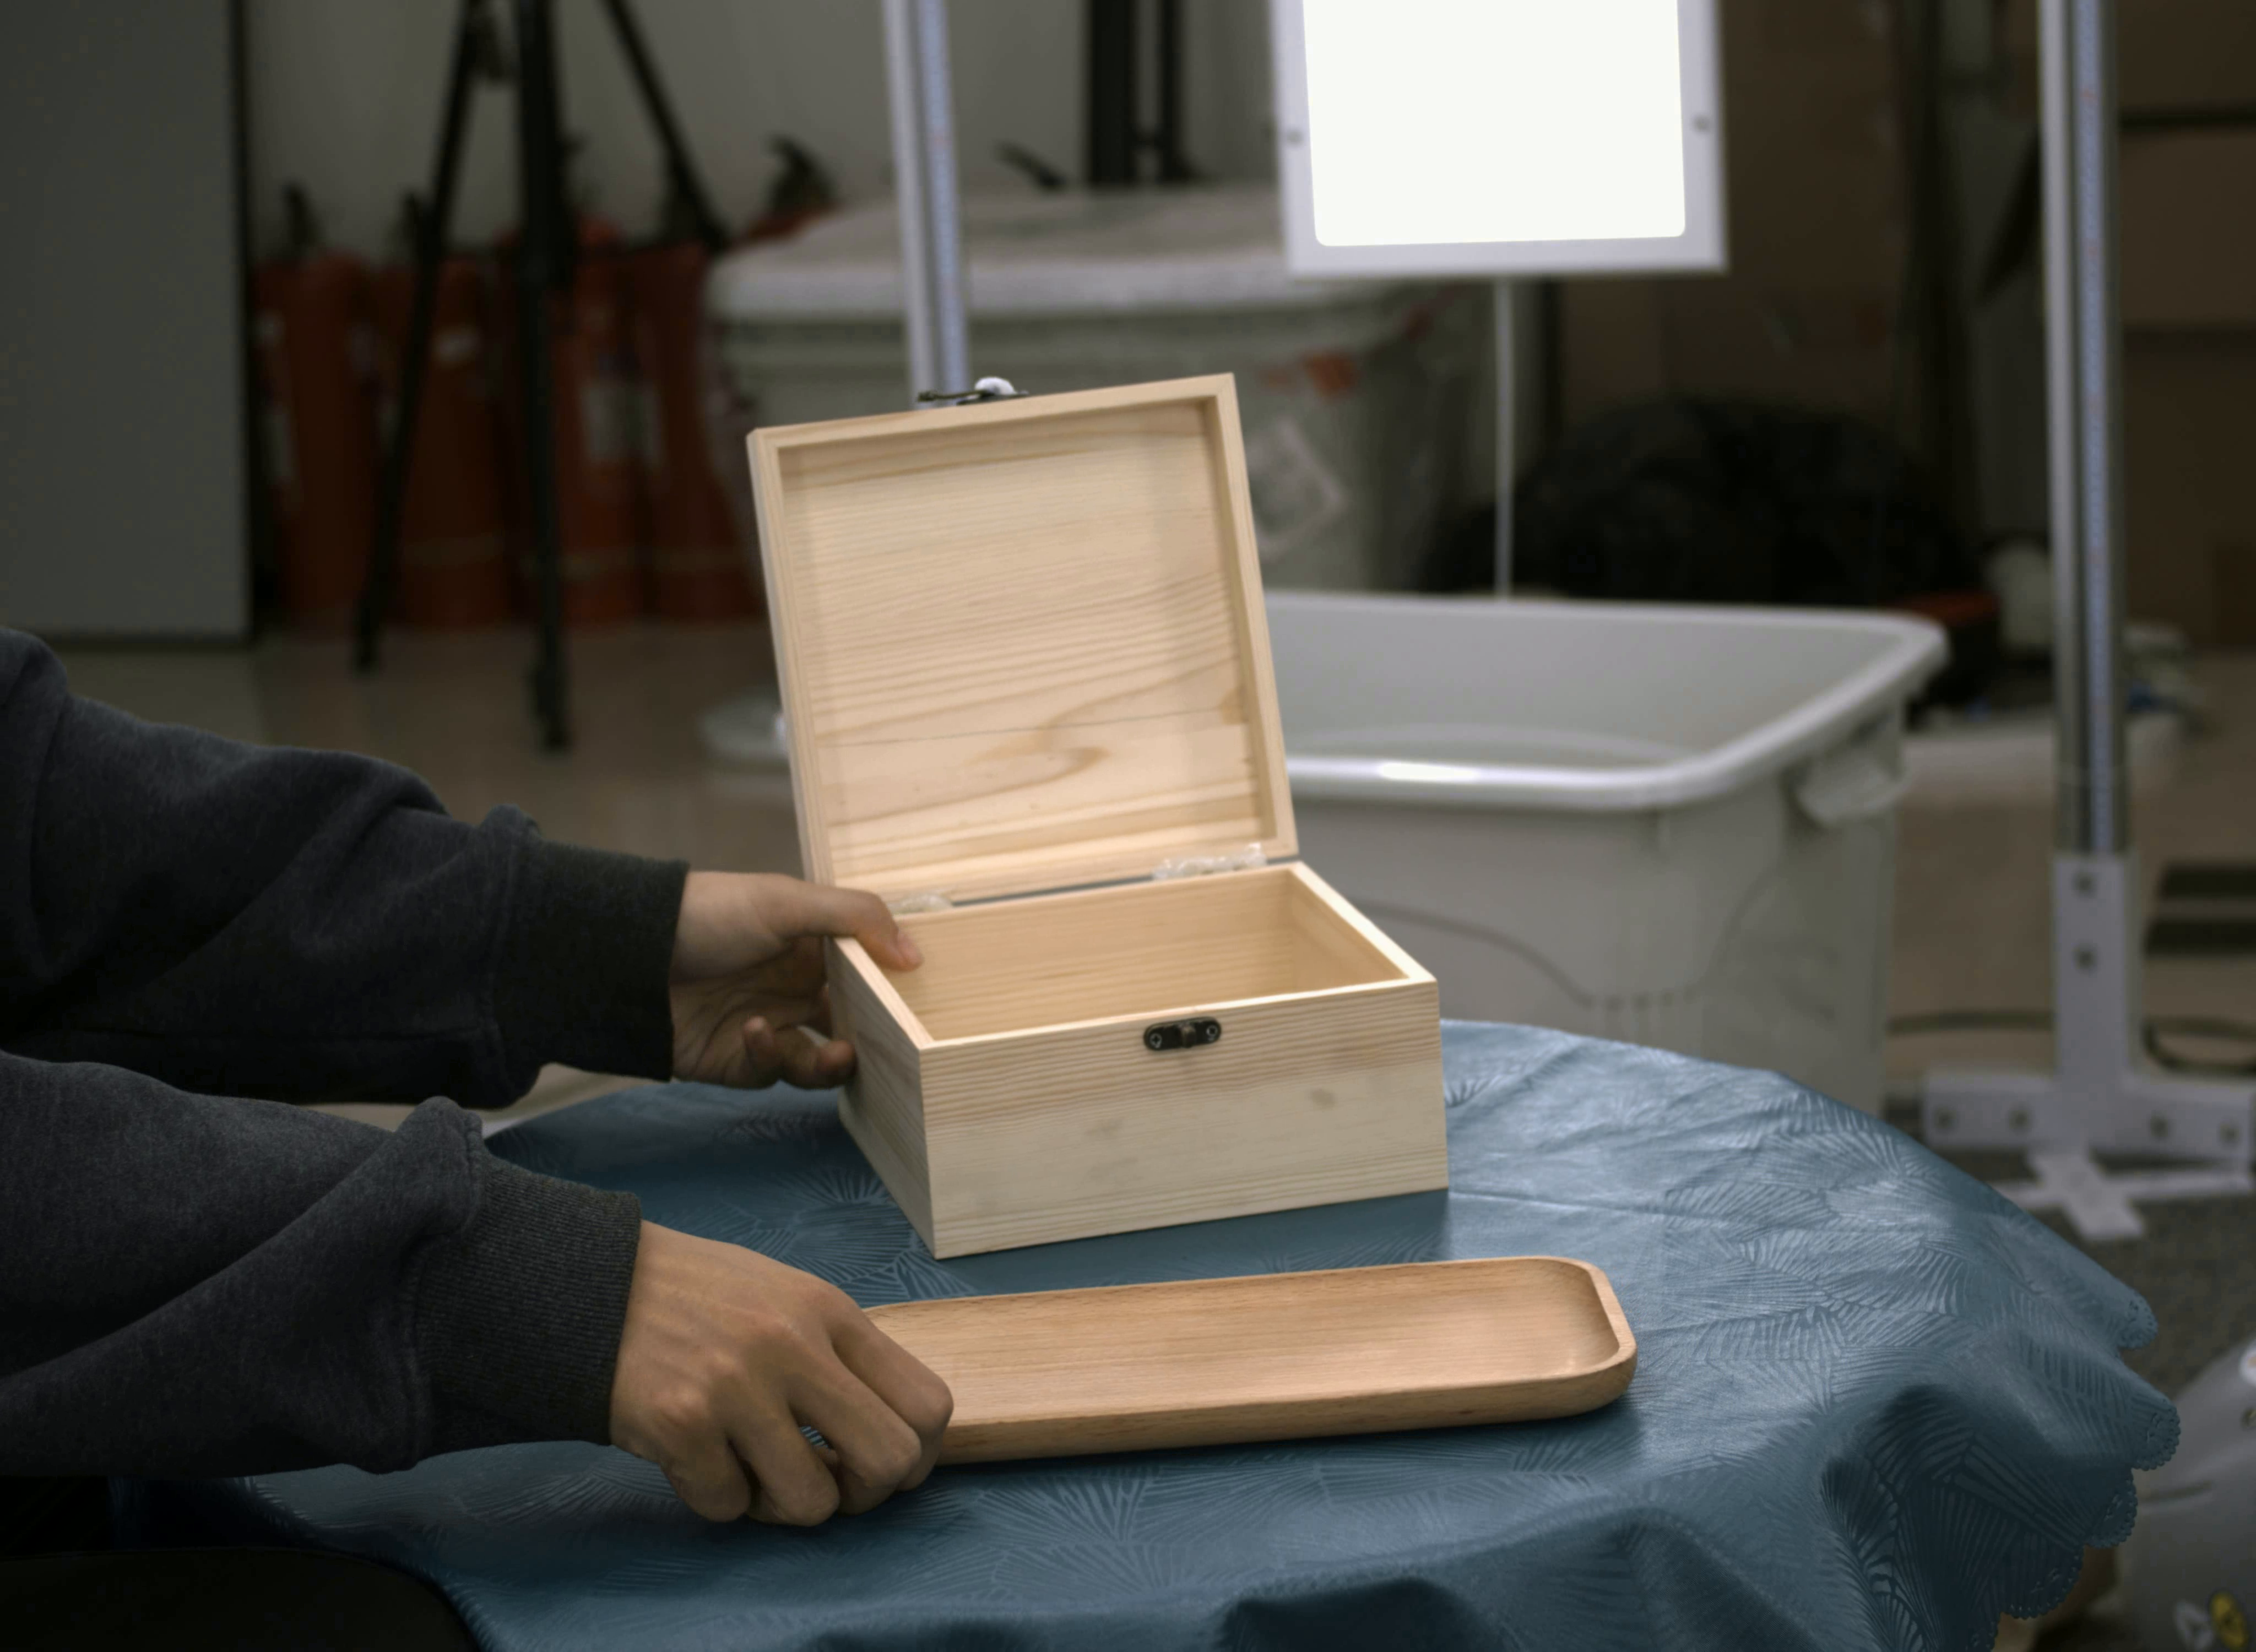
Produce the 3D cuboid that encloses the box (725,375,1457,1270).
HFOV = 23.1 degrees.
[{"bbox_3d":[-0.017,-0.010,1.946,0.180,0.254,0.267,-10,13,-11],"label":"box"}]

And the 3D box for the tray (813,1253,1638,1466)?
[{"bbox_3d":[0.028,0.164,1.692,0.250,0.023,0.130,-5,10,1],"label":"tray"}]
